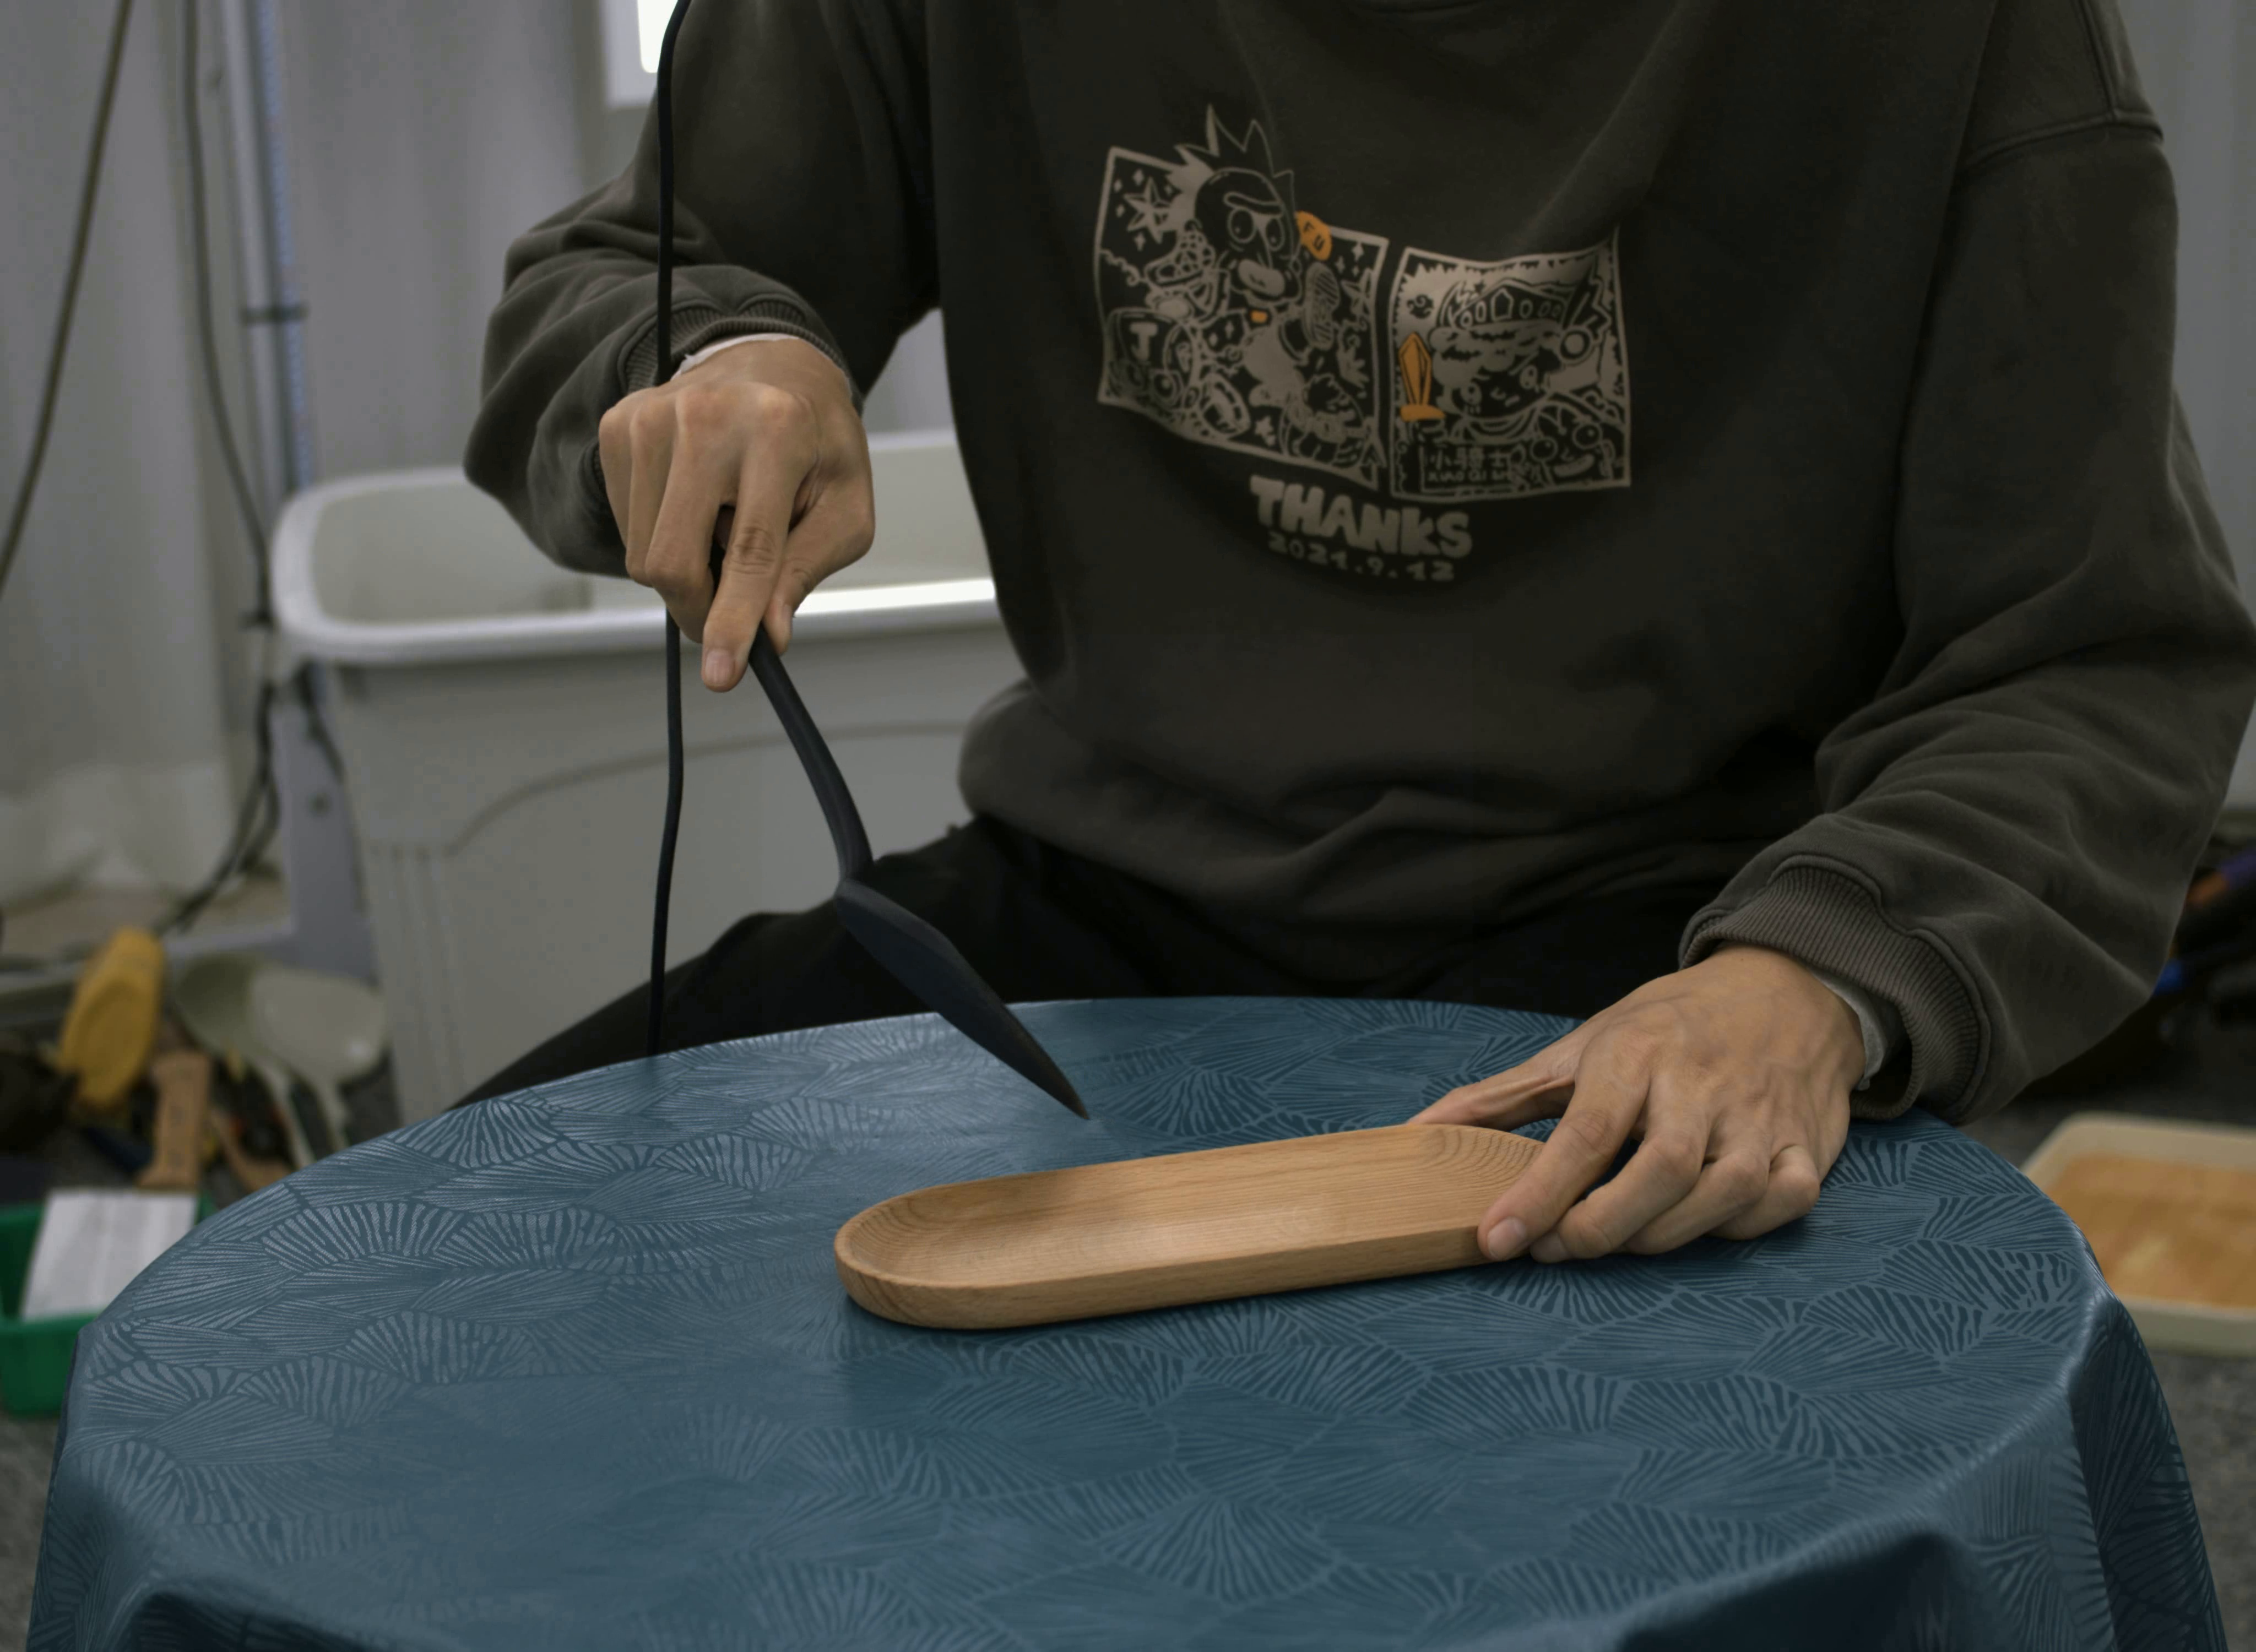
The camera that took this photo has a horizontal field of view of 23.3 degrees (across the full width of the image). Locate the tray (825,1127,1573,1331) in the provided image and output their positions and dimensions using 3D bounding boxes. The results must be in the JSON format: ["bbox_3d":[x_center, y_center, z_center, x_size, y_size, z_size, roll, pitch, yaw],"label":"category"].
[{"bbox_3d":[0.023,0.122,1.658,0.230,0.020,0.102,-7,15,-12],"label":"tray"}]

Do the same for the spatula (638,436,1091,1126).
[{"bbox_3d":[-0.097,-0.029,1.757,0.040,0.098,0.331,-30,48,4],"label":"spatula"}]
